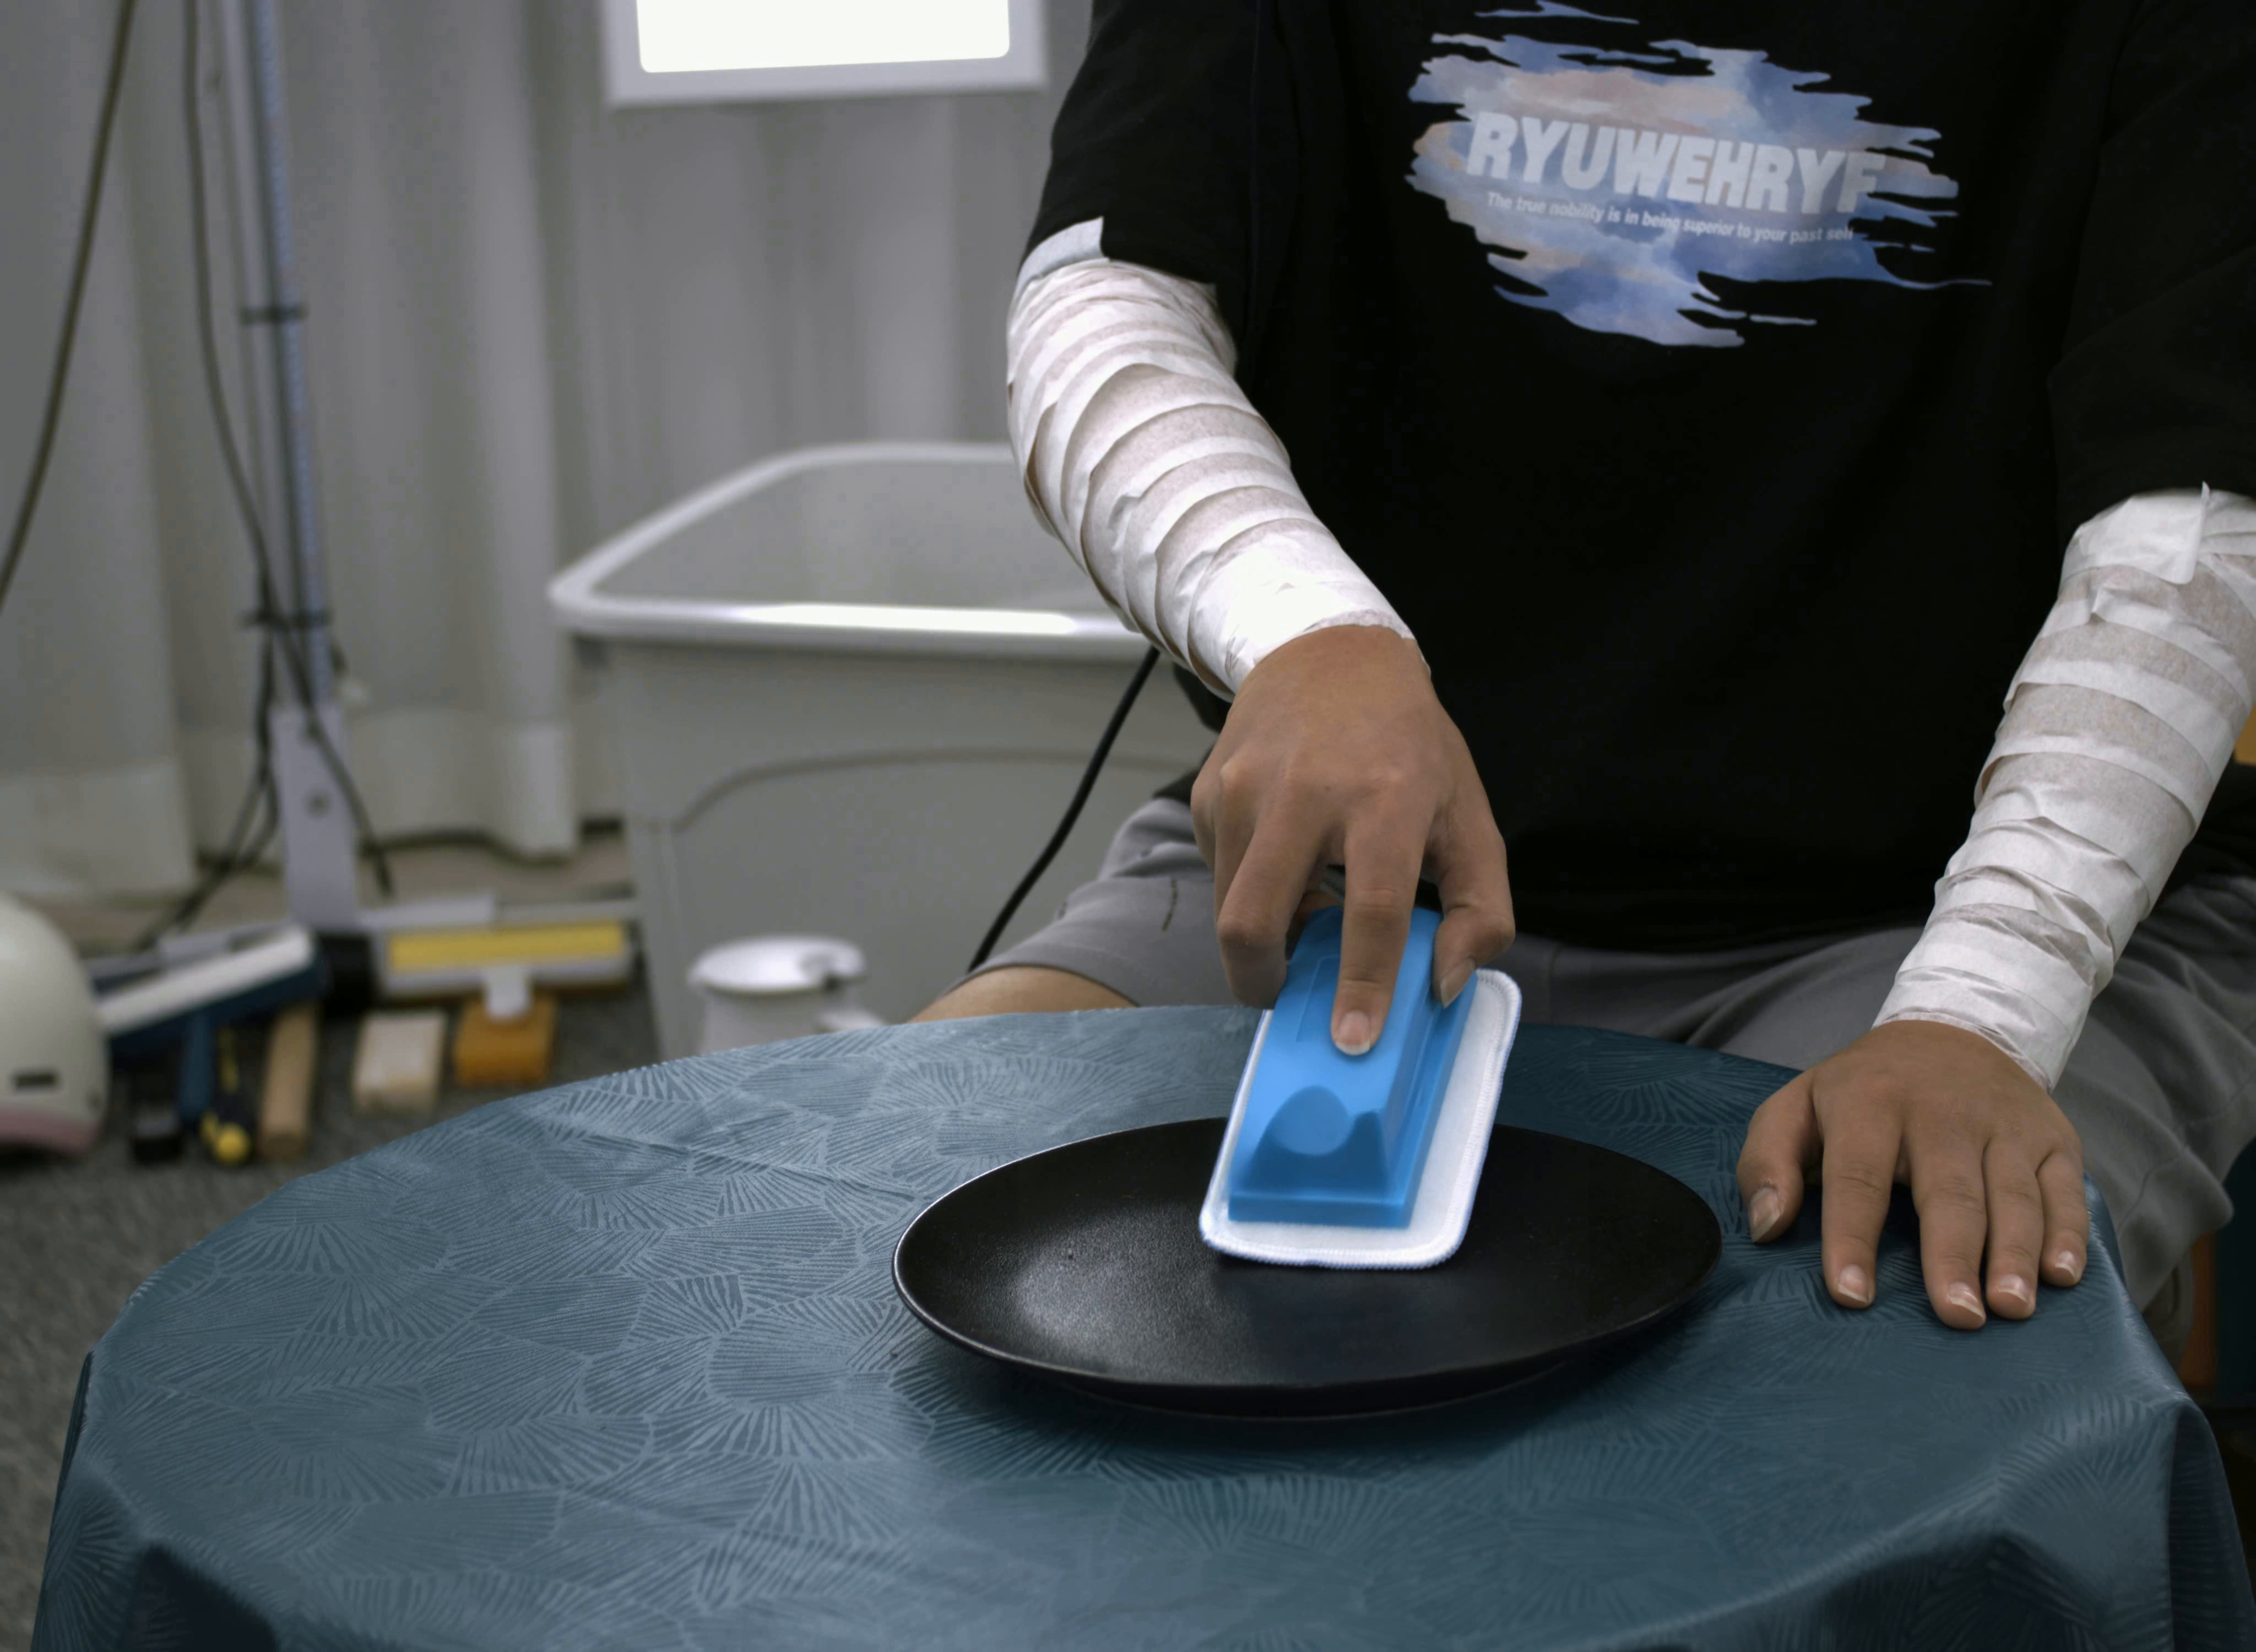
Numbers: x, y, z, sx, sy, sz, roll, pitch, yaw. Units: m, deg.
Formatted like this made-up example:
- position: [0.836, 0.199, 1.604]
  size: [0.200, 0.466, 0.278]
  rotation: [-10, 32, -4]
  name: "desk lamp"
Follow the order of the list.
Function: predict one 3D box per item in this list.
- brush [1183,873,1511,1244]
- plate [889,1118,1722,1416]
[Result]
- position: [0.067, 0.064, 1.659]
  size: [0.084, 0.055, 0.146]
  rotation: [6, 39, 11]
  name: "brush"
- position: [0.052, 0.130, 1.597]
  size: [0.243, 0.023, 0.246]
  rotation: [-3, 15, 0]
  name: "plate"
